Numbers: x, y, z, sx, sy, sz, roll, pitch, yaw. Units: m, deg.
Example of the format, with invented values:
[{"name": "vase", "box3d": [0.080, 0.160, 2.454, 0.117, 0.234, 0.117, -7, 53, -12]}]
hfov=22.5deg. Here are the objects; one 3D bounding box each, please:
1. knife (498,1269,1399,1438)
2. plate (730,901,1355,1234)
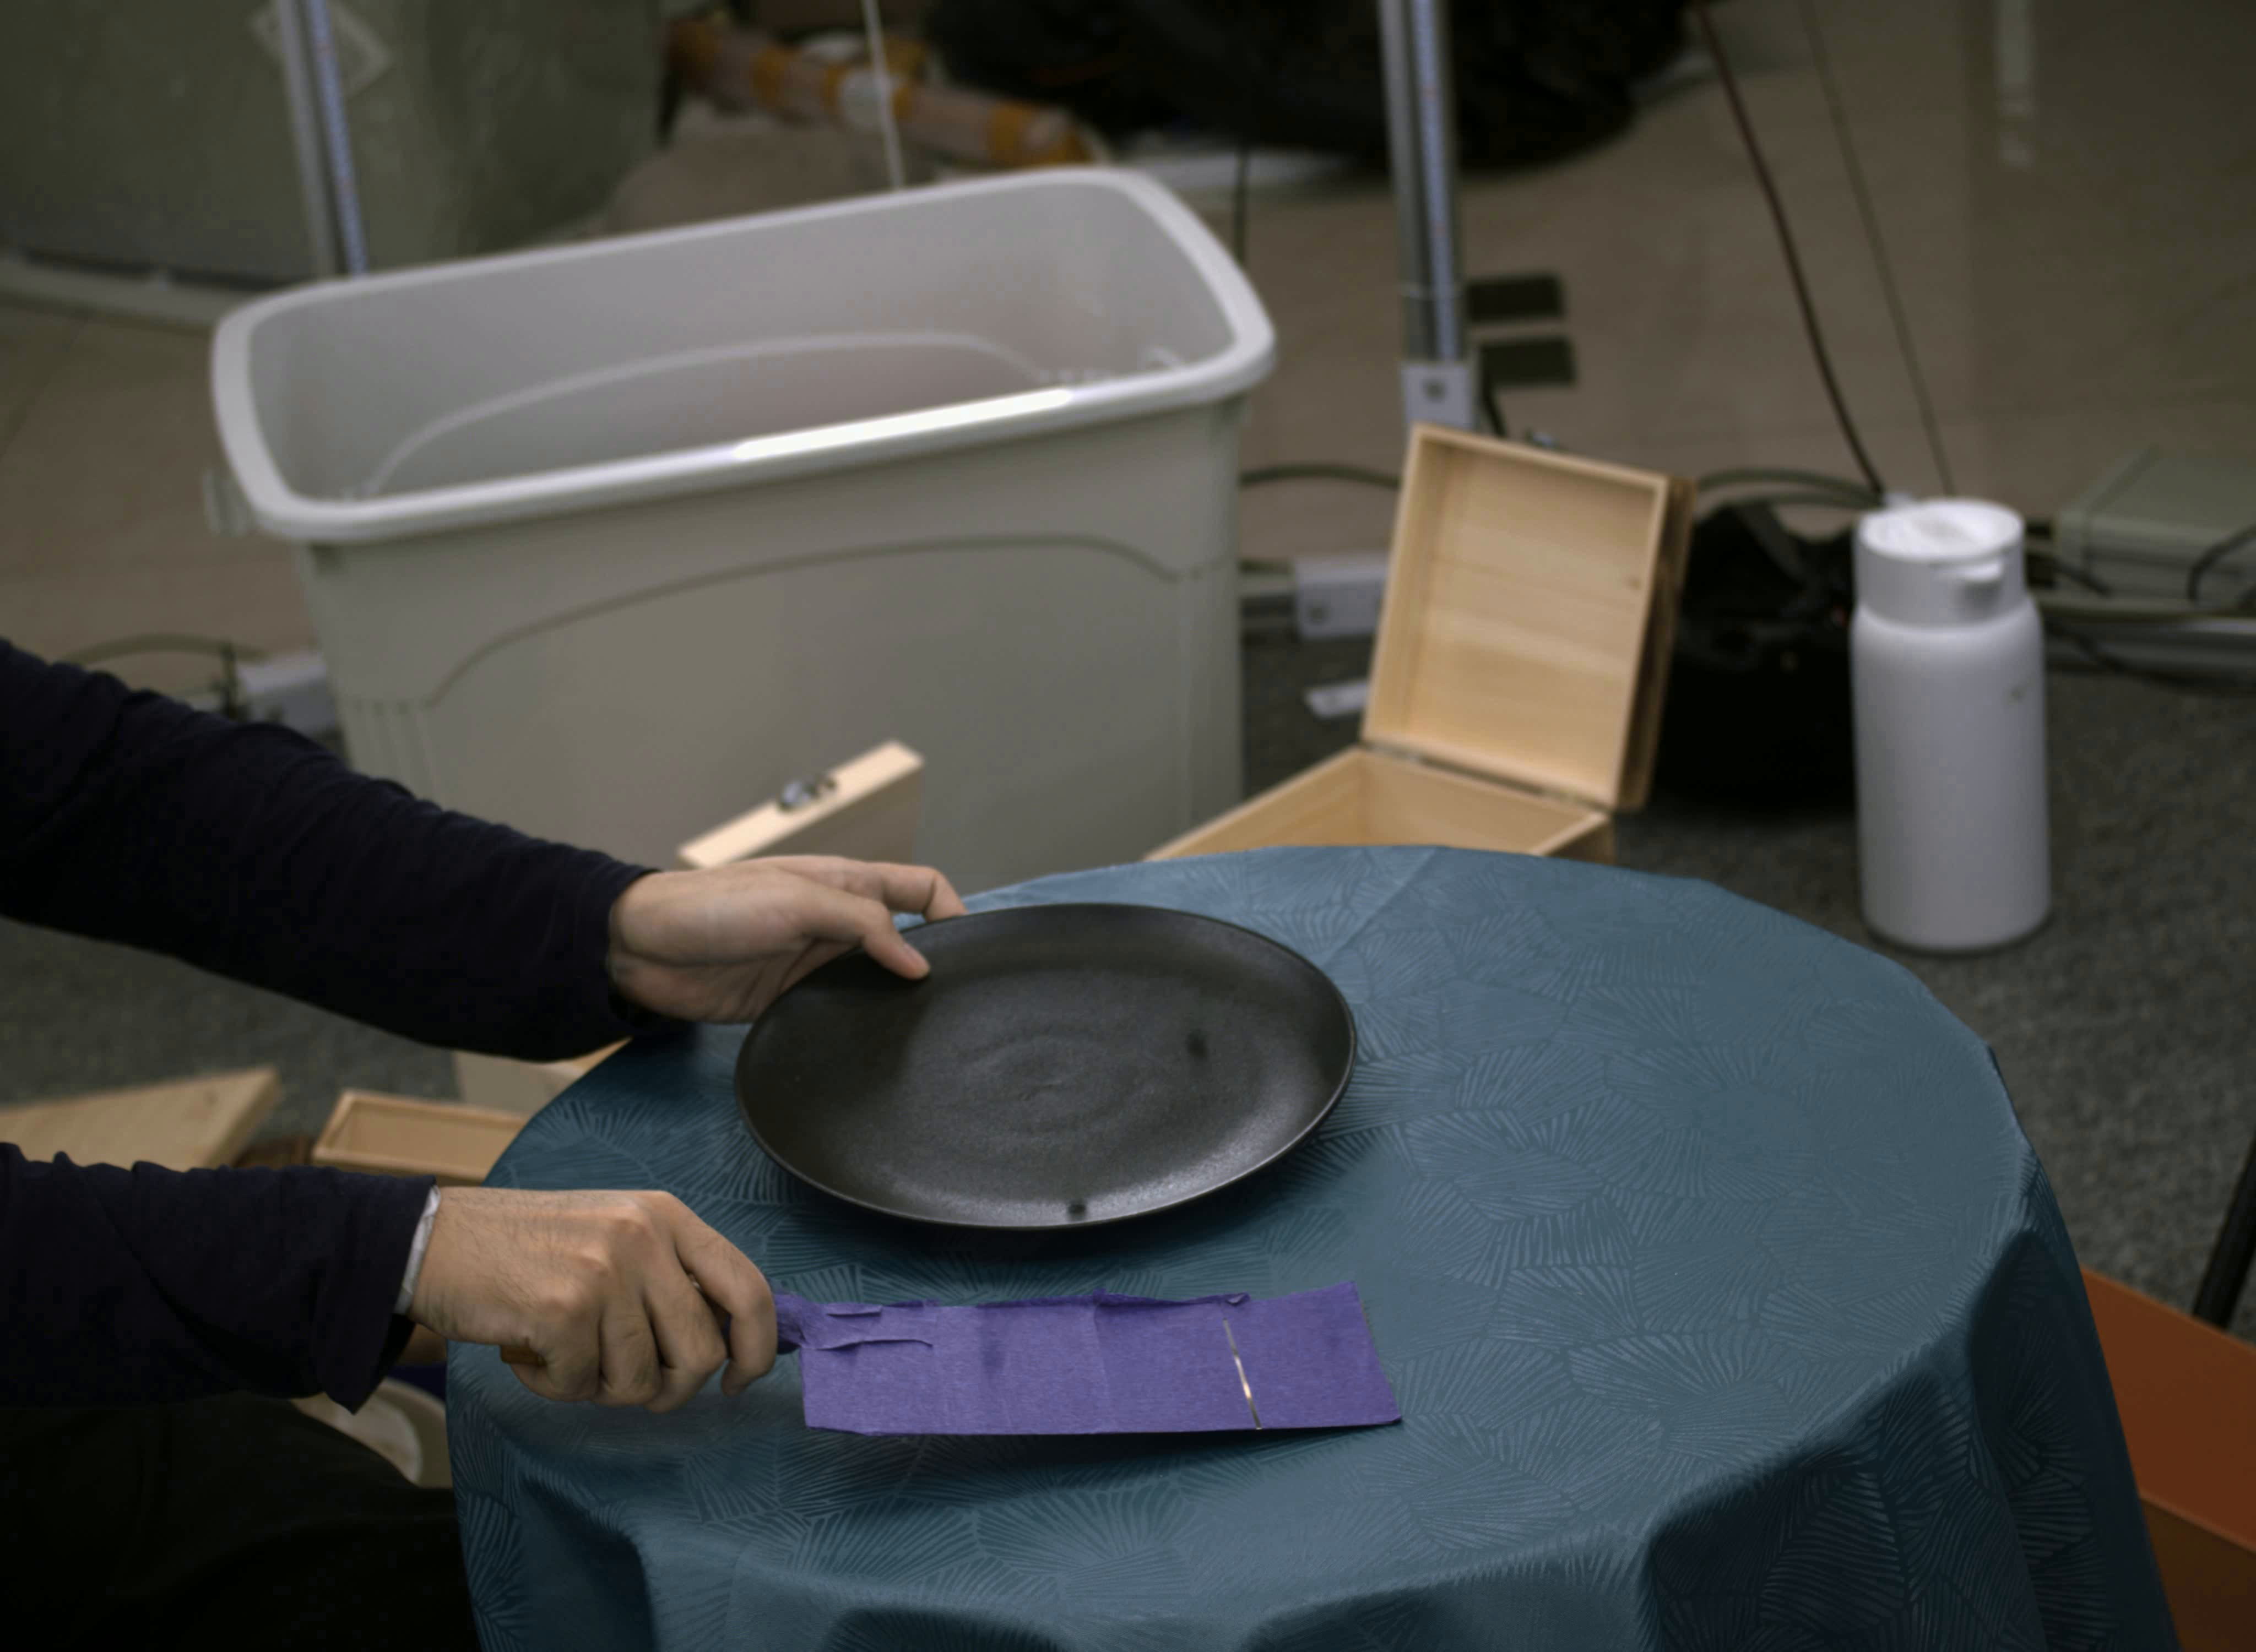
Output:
[{"name": "knife", "box3d": [-0.064, 0.185, 1.999, 0.315, 0.033, 0.102, -2, 24, -6]}, {"name": "plate", "box3d": [-0.033, 0.098, 2.202, 0.244, 0.024, 0.240, -3, 29, 2]}]
